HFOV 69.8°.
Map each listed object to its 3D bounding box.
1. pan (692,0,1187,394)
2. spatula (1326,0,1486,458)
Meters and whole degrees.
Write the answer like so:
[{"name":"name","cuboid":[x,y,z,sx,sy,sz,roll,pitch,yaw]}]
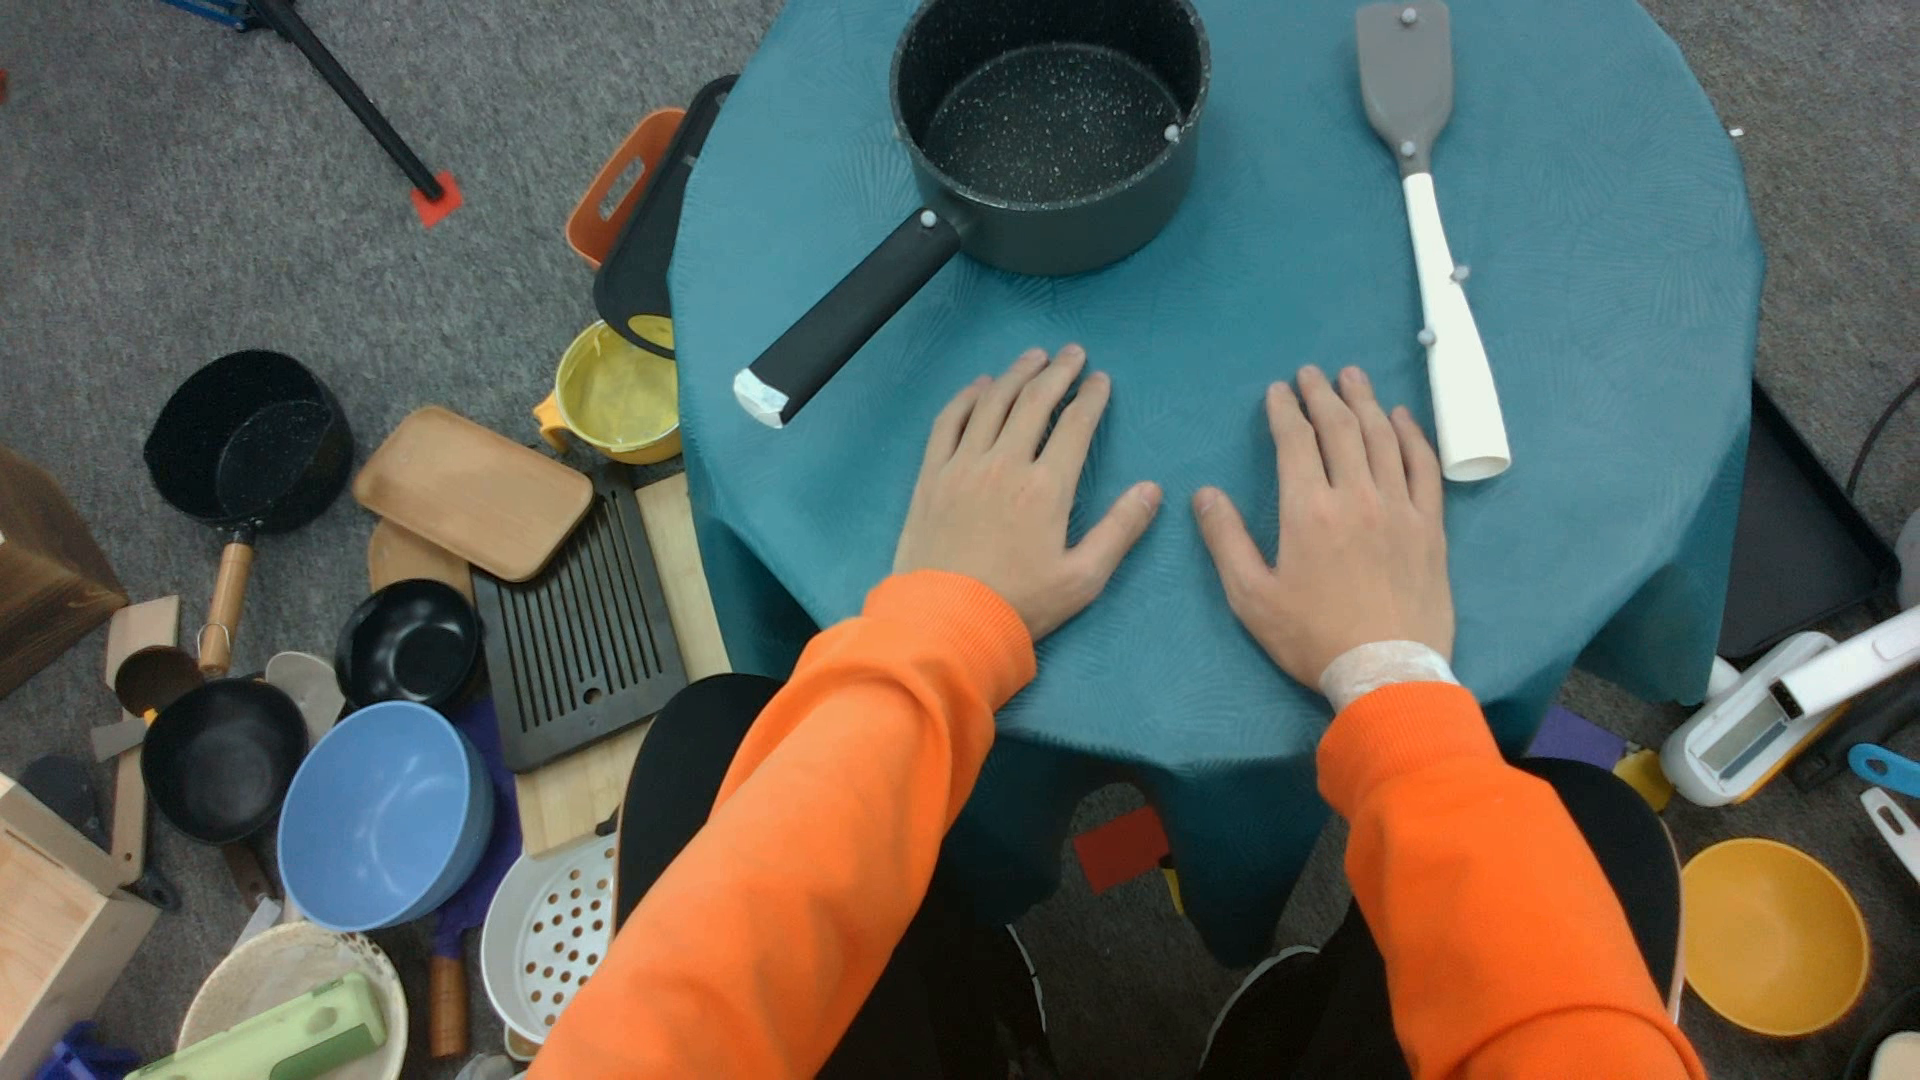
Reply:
[{"name":"pan","cuboid":[-0.013,-0.187,0.747,0.172,0.086,0.329,37,75,18]},{"name":"spatula","cuboid":[0.243,-0.181,0.747,0.058,0.032,0.288,-5,69,7]}]
